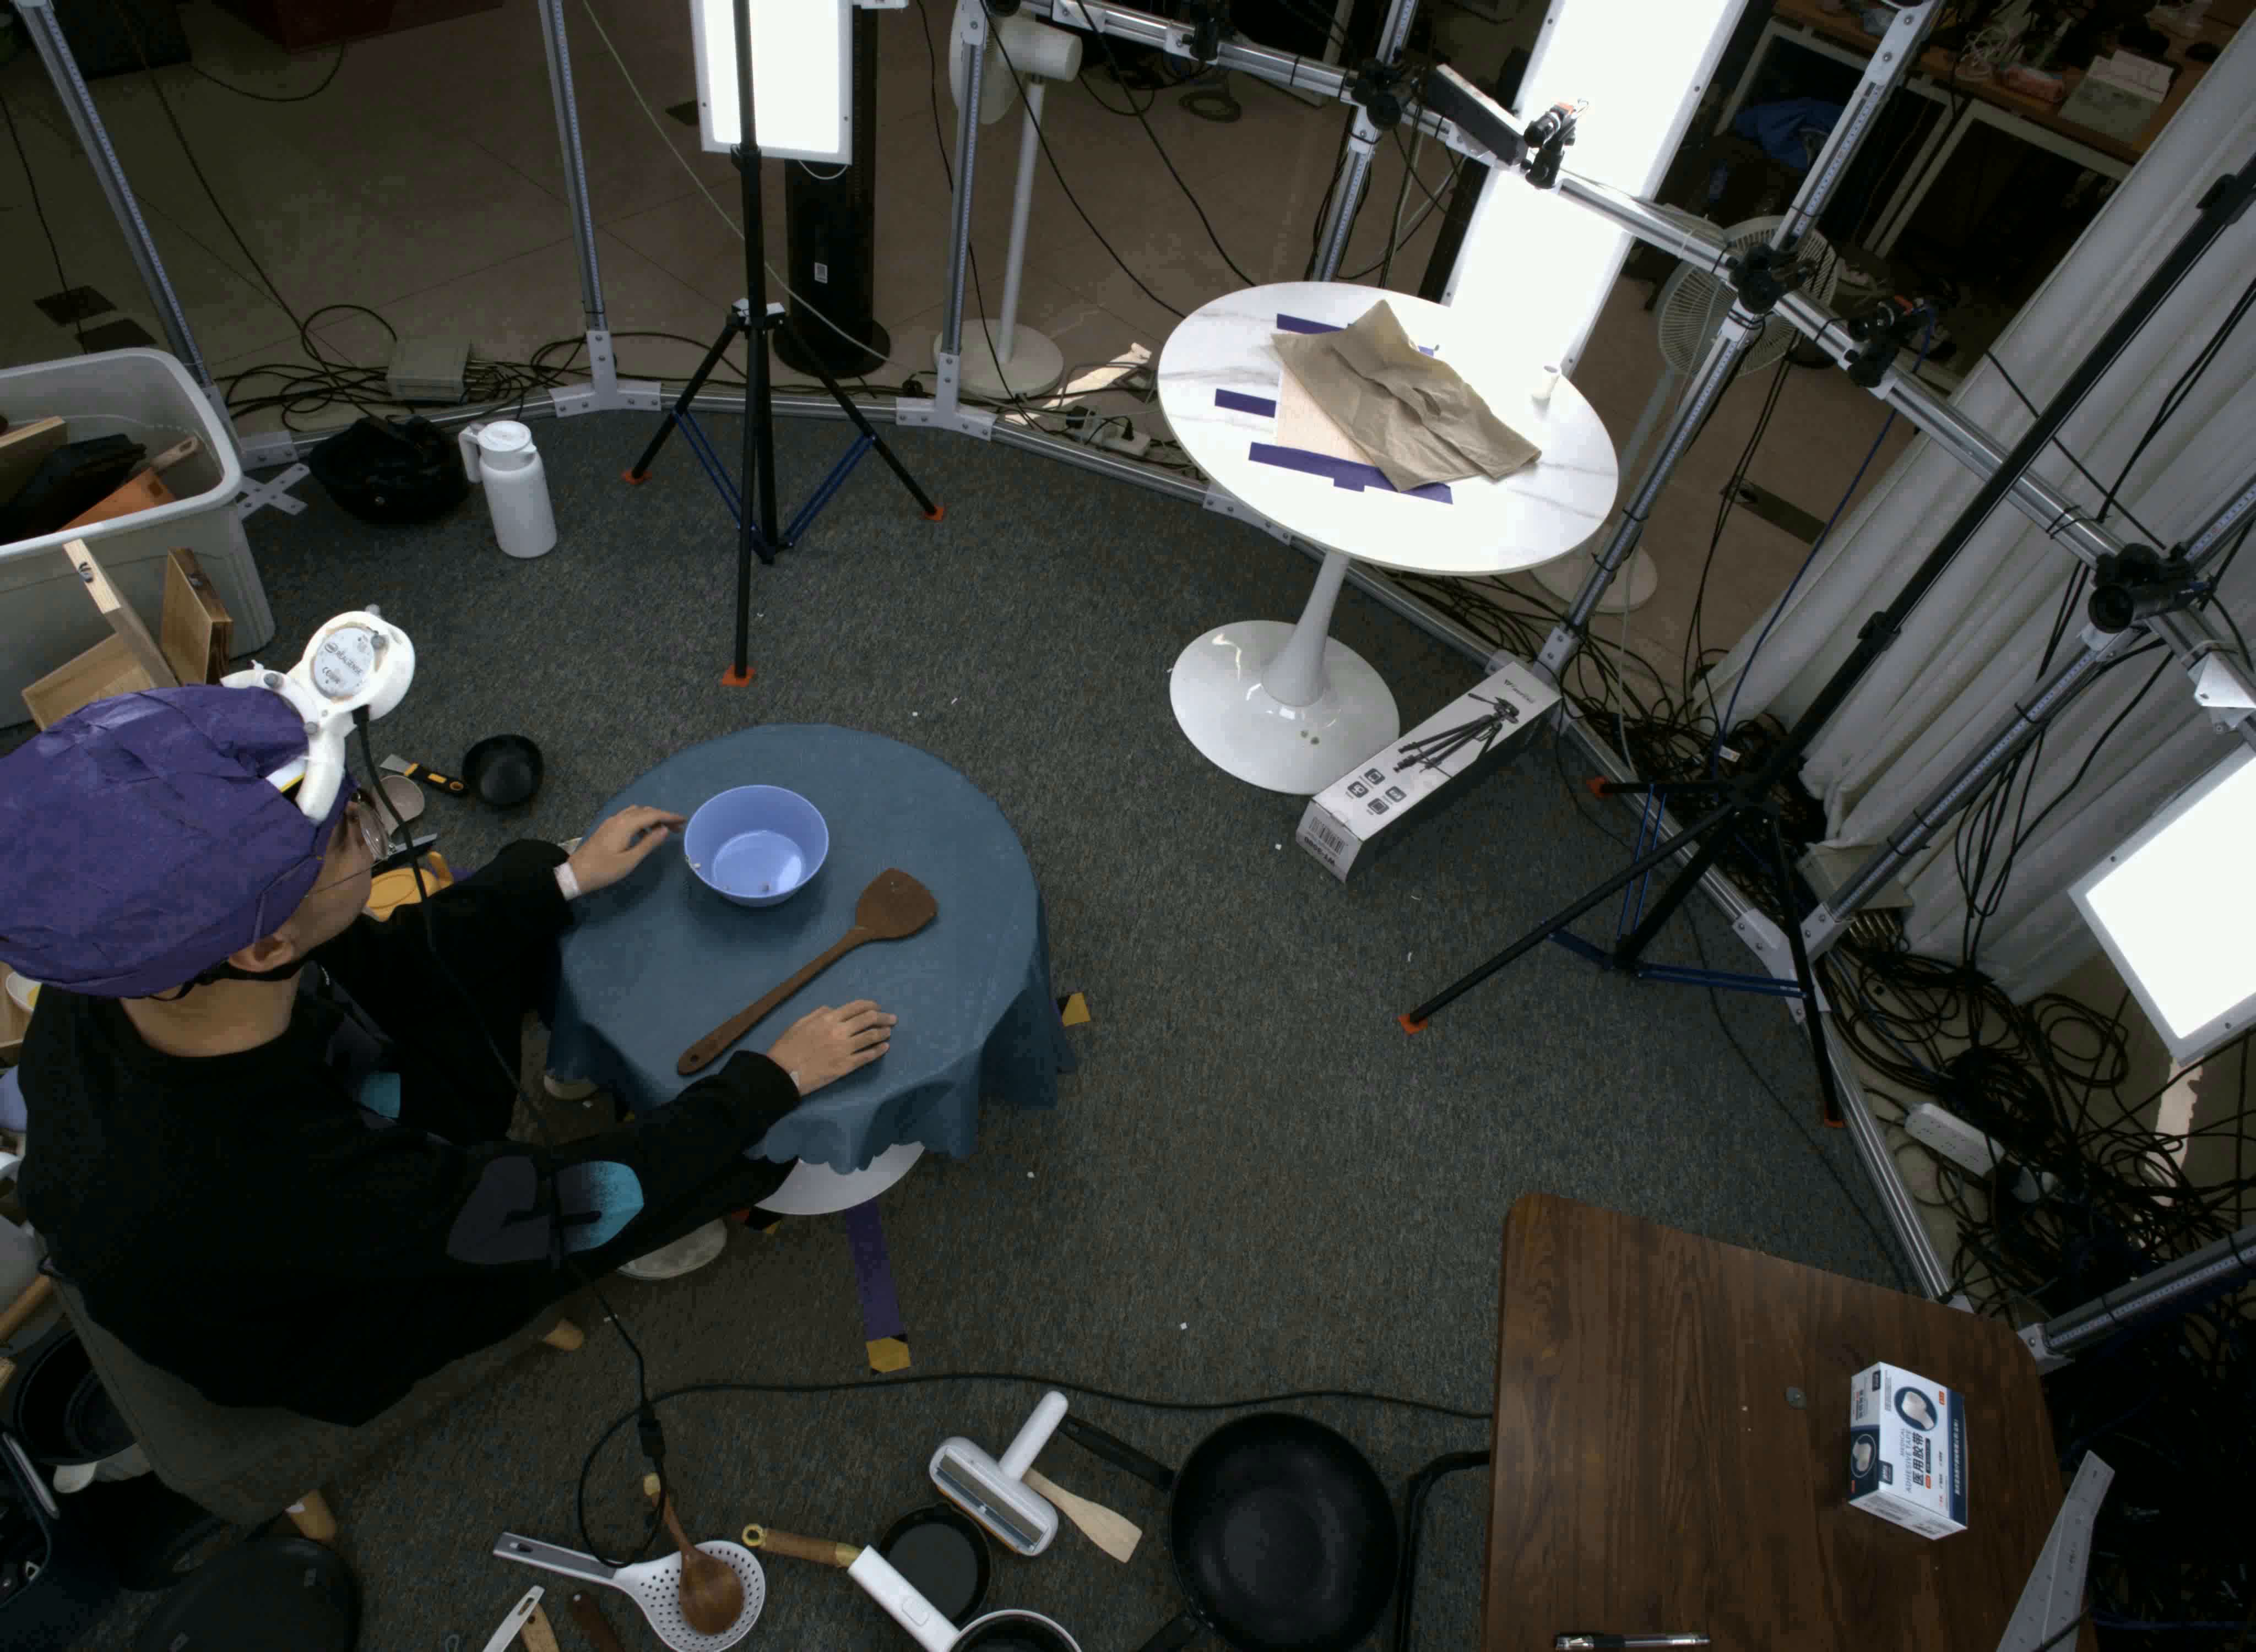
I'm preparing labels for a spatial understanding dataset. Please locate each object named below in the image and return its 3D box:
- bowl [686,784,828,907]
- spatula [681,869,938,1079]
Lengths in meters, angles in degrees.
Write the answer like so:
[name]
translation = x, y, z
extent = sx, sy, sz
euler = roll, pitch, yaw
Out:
[bowl]
translation = -0.469, 0.035, 1.647
extent = 0.175, 0.072, 0.173
euler = 7, 53, -8
[spatula]
translation = -0.393, 0.180, 1.594
extent = 0.094, 0.016, 0.386
euler = 39, 54, 15
